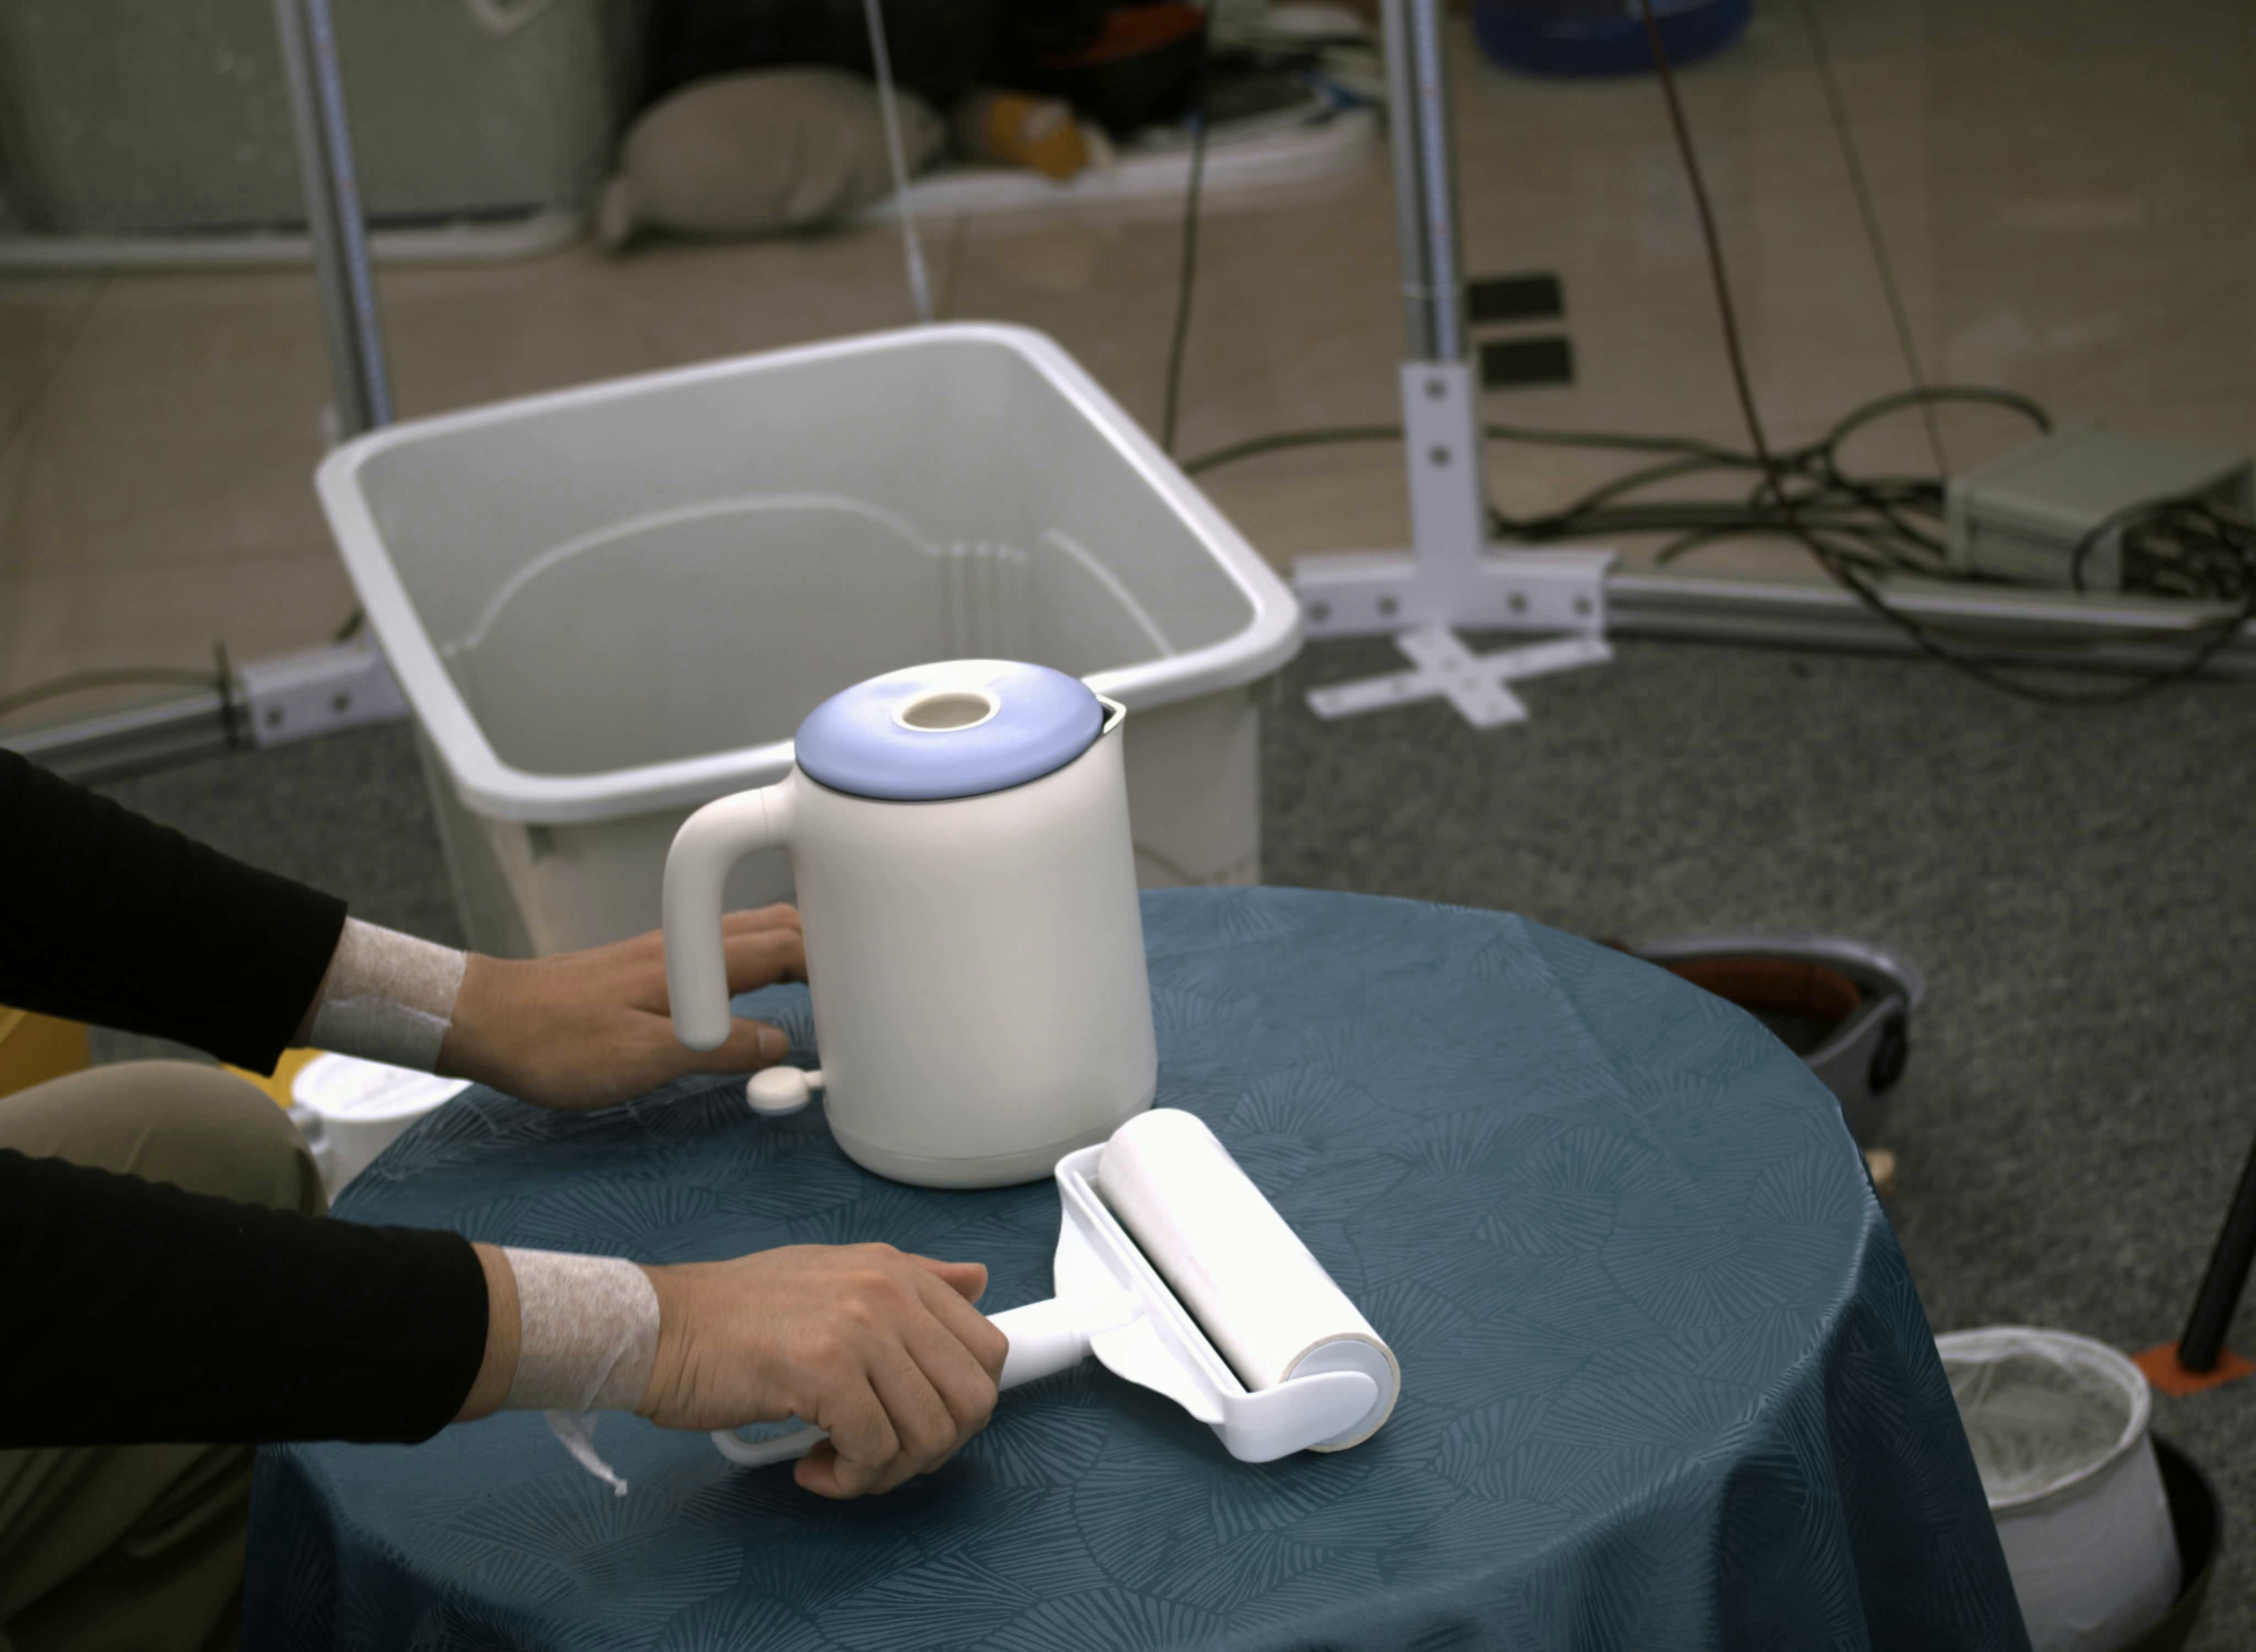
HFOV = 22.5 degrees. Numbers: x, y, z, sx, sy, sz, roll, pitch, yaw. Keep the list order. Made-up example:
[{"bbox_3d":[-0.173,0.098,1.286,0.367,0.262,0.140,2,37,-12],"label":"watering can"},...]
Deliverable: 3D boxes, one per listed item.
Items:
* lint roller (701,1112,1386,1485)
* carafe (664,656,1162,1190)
[{"bbox_3d":[-0.045,0.184,2.011,0.225,0.049,0.200,-15,27,-15],"label":"lint roller"},{"bbox_3d":[-0.084,0.041,2.172,0.190,0.185,0.130,-12,25,-6],"label":"carafe"}]
